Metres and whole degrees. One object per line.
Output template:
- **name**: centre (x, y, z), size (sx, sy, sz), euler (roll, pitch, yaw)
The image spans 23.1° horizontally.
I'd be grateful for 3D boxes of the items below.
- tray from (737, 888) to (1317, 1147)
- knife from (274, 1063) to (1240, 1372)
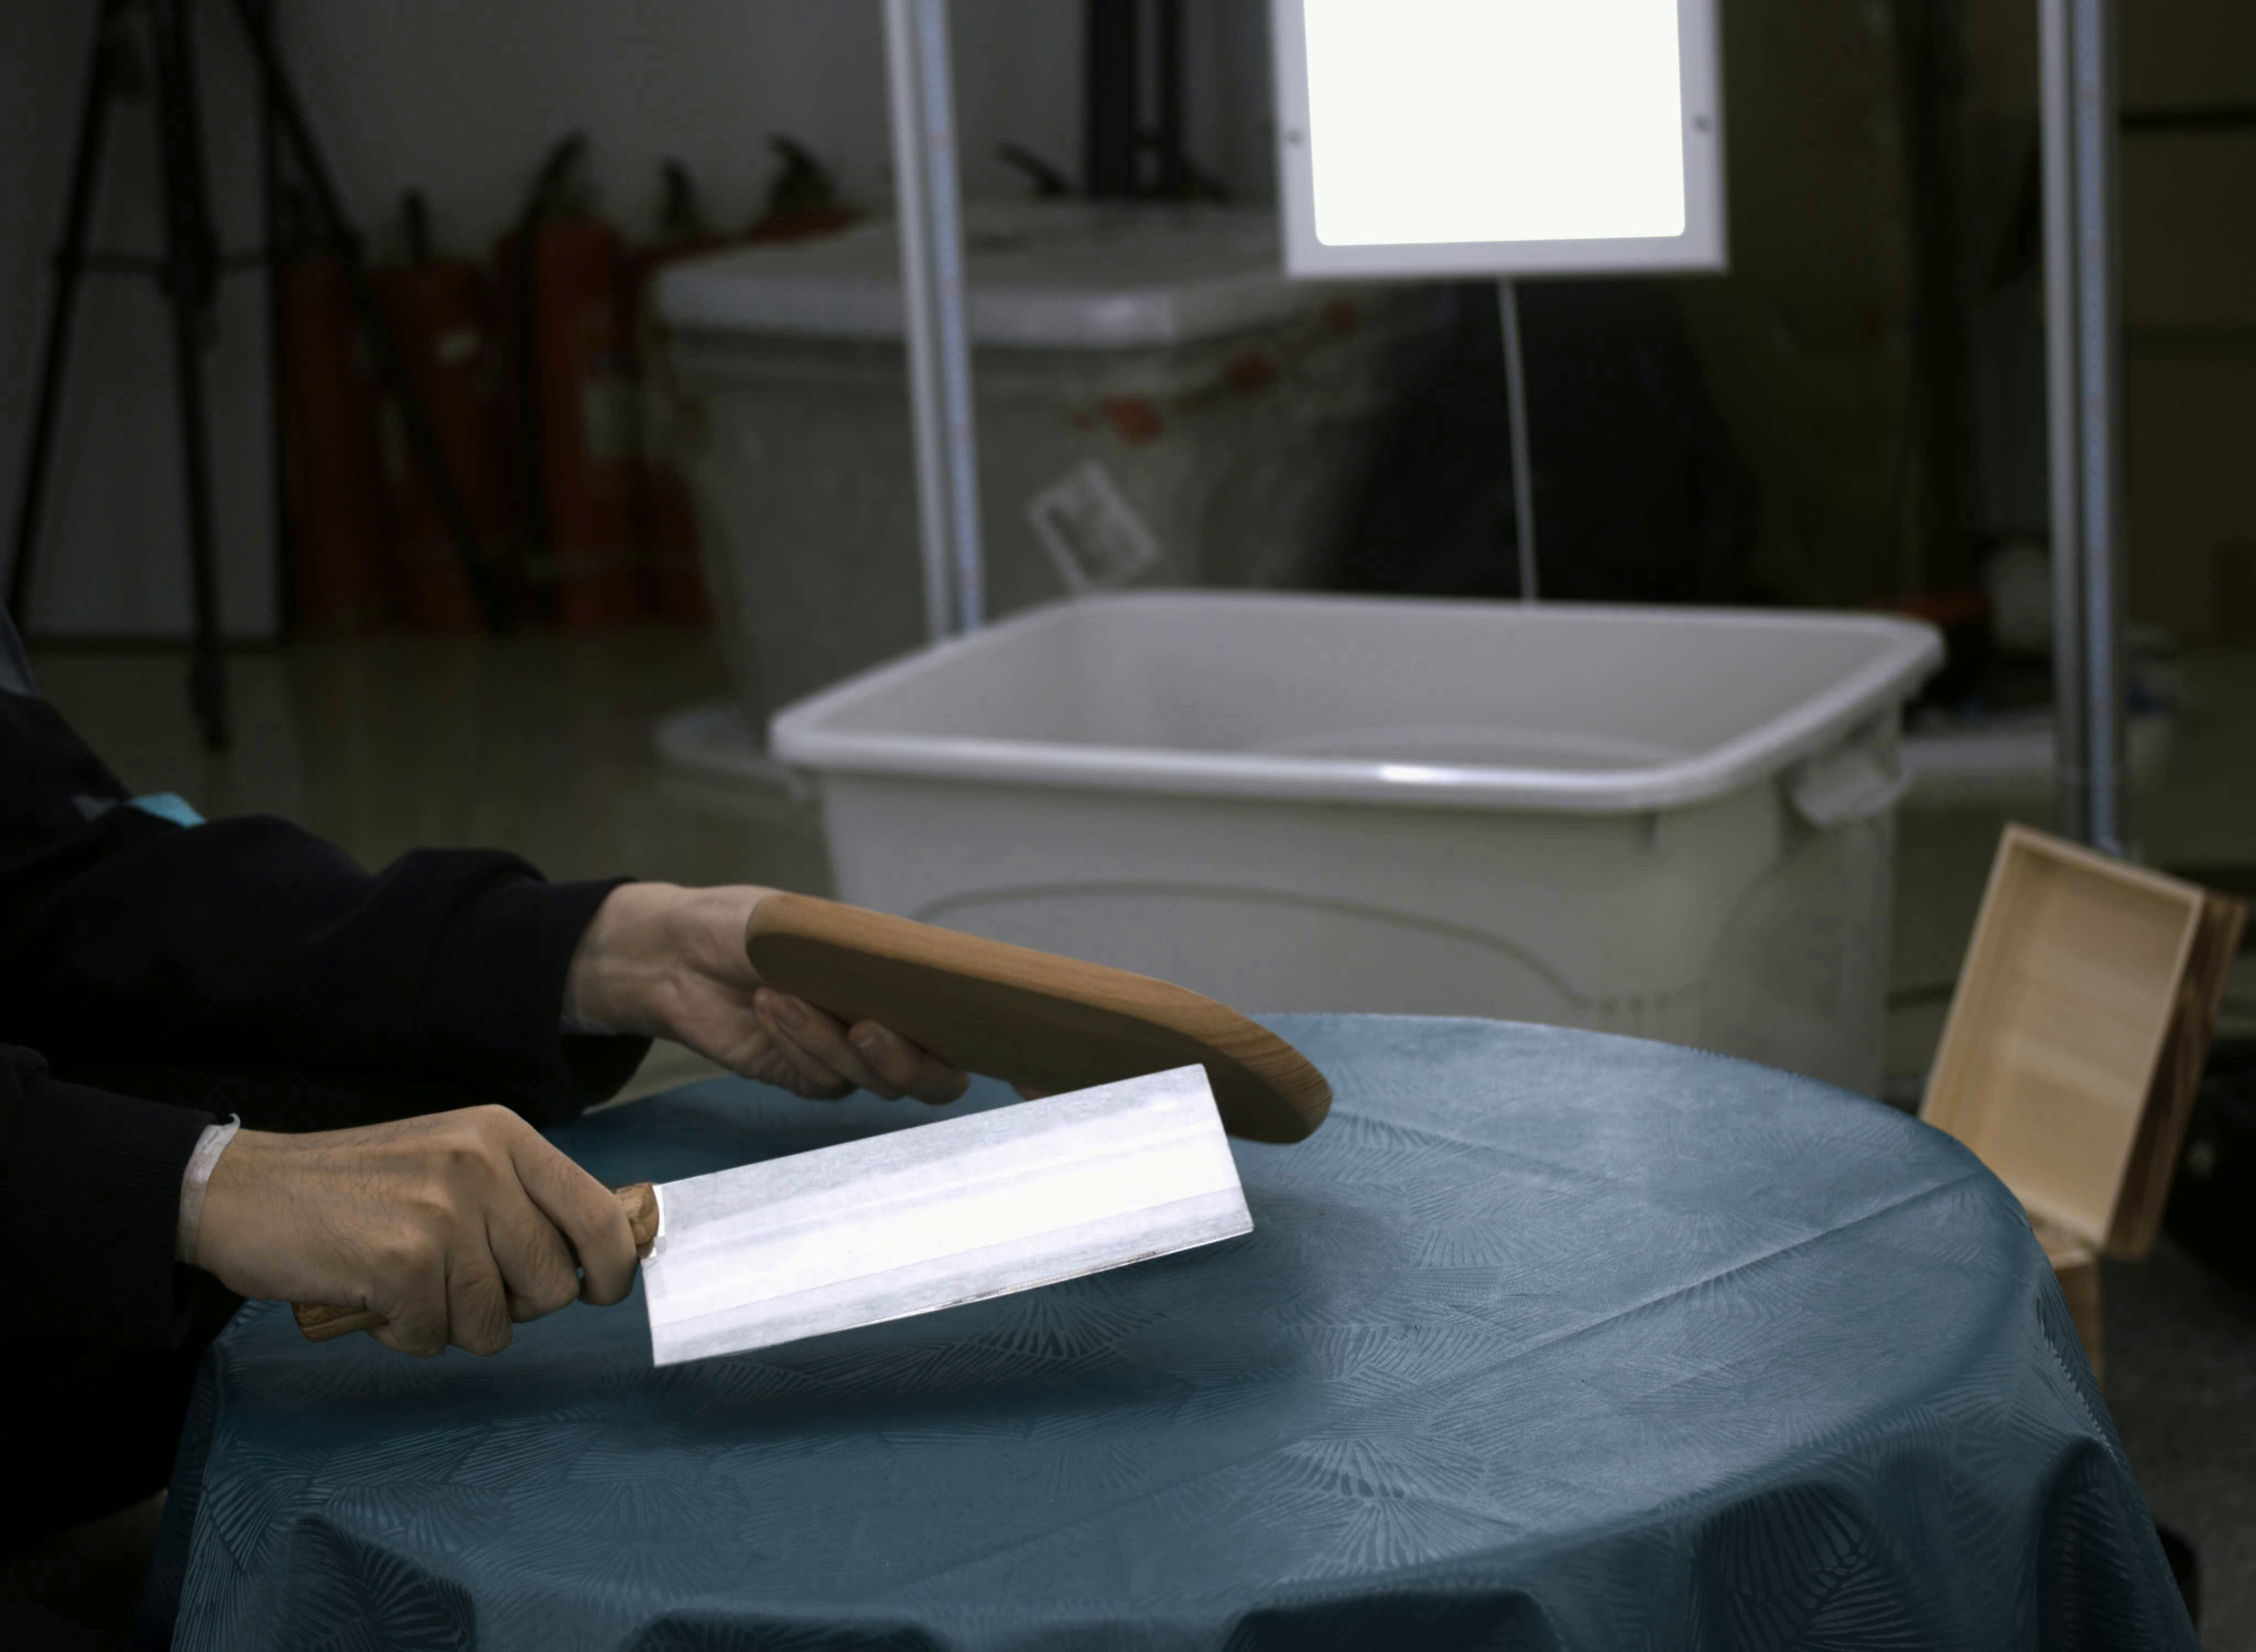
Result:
- **tray**: centre (-0.038, 0.066, 1.888), size (0.235, 0.100, 0.020), euler (11, 63, 34)
- **knife**: centre (-0.116, 0.133, 1.728), size (0.304, 0.021, 0.093), euler (-13, 35, -1)
